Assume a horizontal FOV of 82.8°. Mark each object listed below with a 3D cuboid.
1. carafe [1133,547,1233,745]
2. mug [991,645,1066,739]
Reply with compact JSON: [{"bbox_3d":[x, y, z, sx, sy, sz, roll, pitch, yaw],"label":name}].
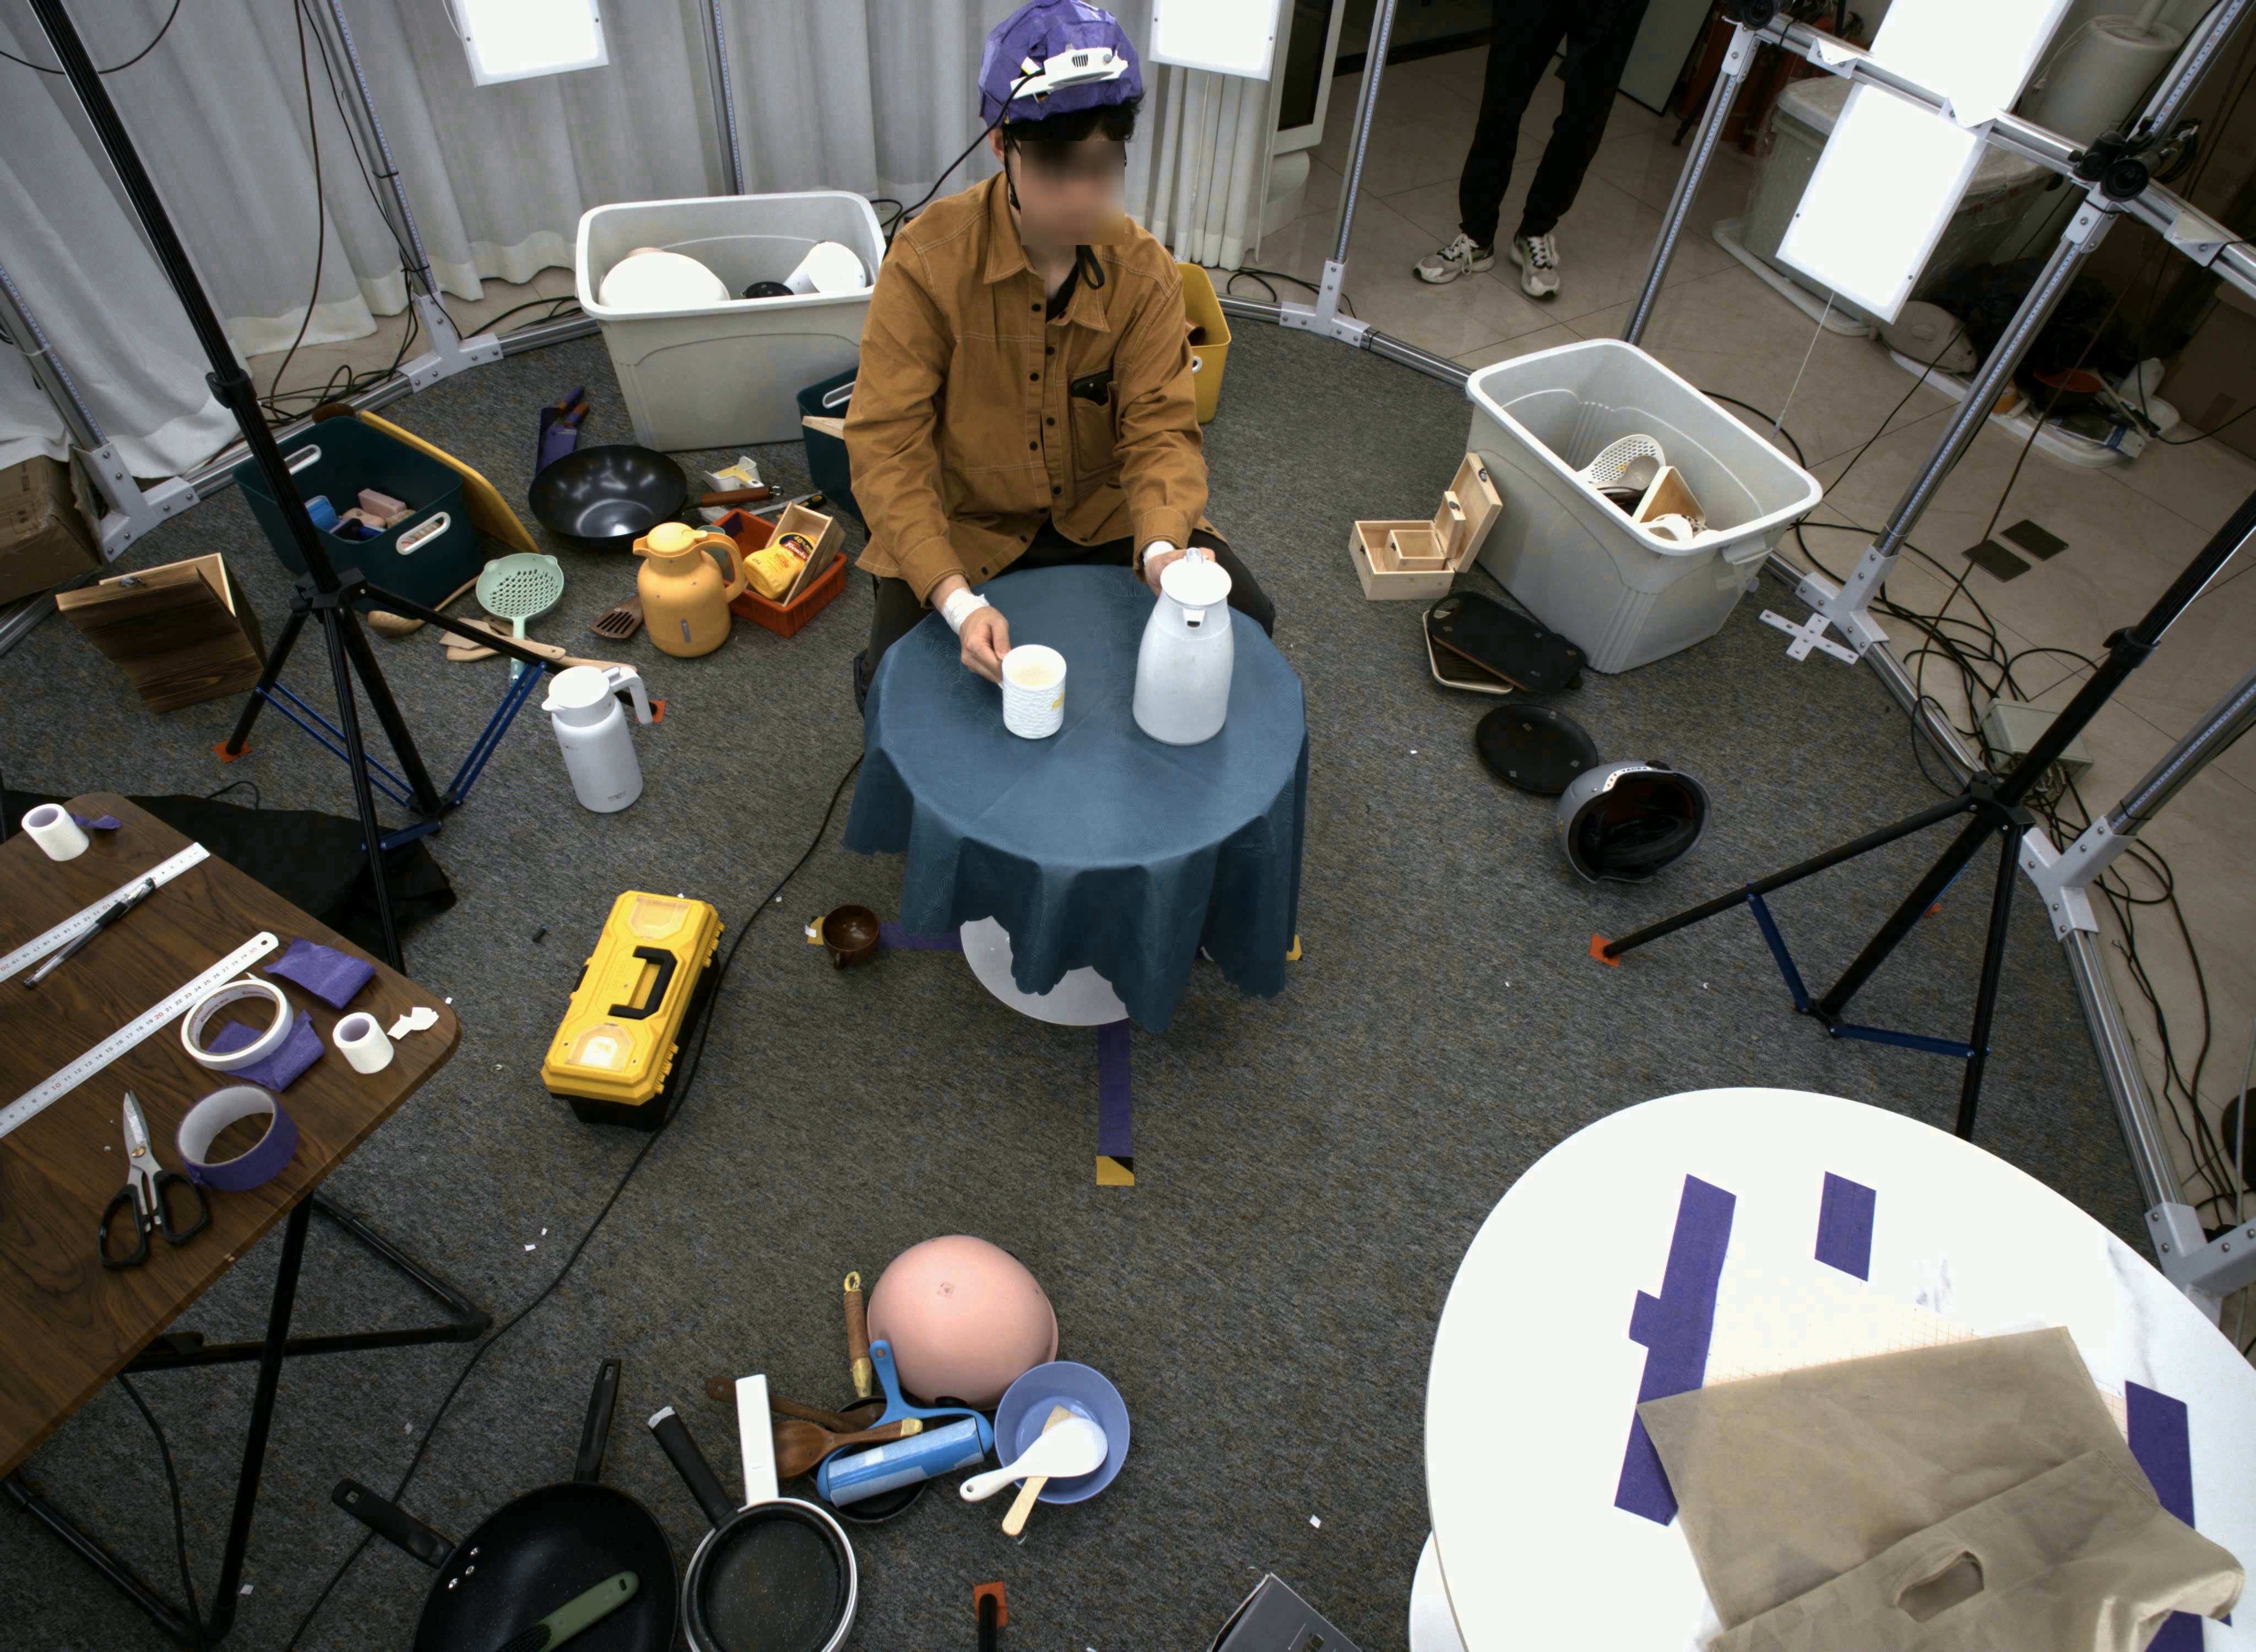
[{"bbox_3d":[0.078,-0.254,1.735,0.132,0.242,0.172,3,49,-1],"label":"carafe"},{"bbox_3d":[-0.141,-0.190,1.759,0.120,0.099,0.086,34,55,24],"label":"mug"}]
